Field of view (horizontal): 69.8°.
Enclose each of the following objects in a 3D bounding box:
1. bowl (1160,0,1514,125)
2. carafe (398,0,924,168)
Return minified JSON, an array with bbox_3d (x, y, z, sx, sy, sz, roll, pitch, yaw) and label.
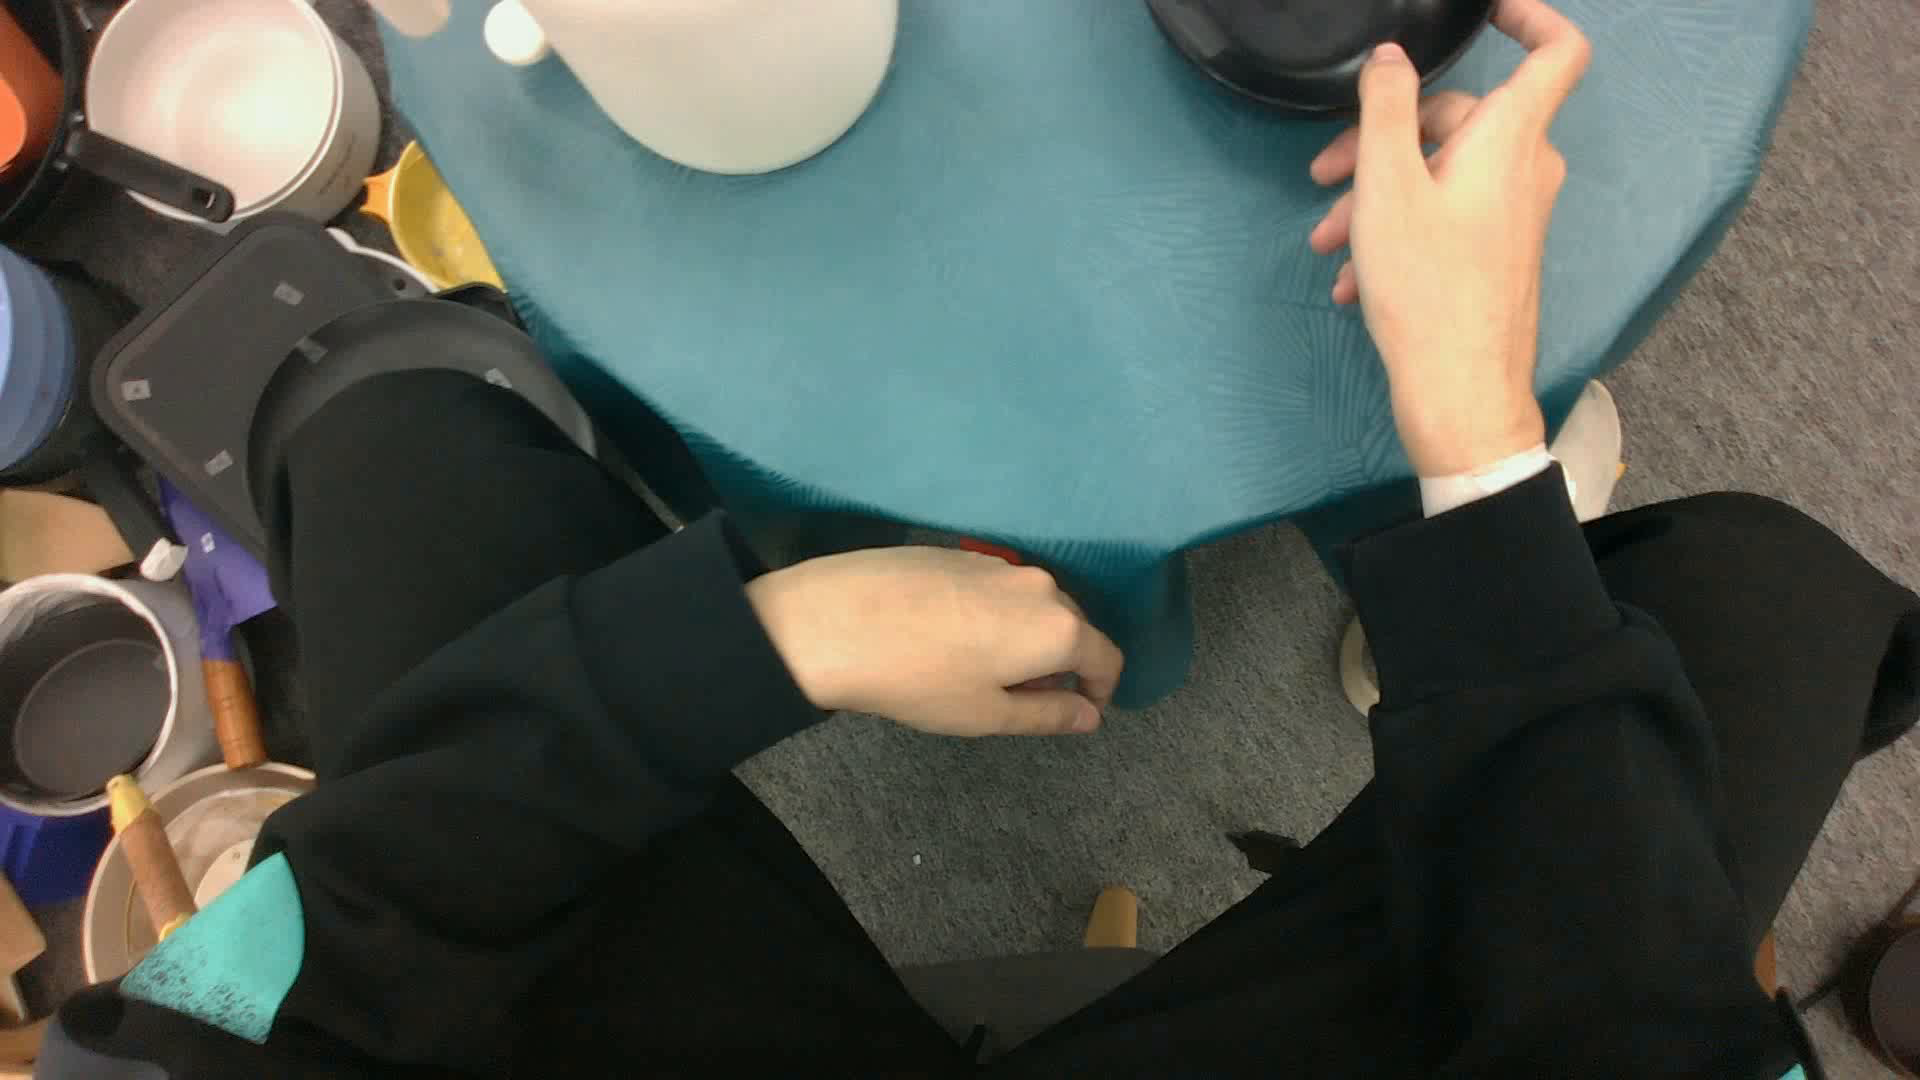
[{"bbox_3d":[0.141,-0.223,0.532,0.140,0.050,0.140,0,87,2],"label":"bowl"},{"bbox_3d":[-0.108,-0.216,0.482,0.191,0.182,0.132,-11,83,4],"label":"carafe"}]
